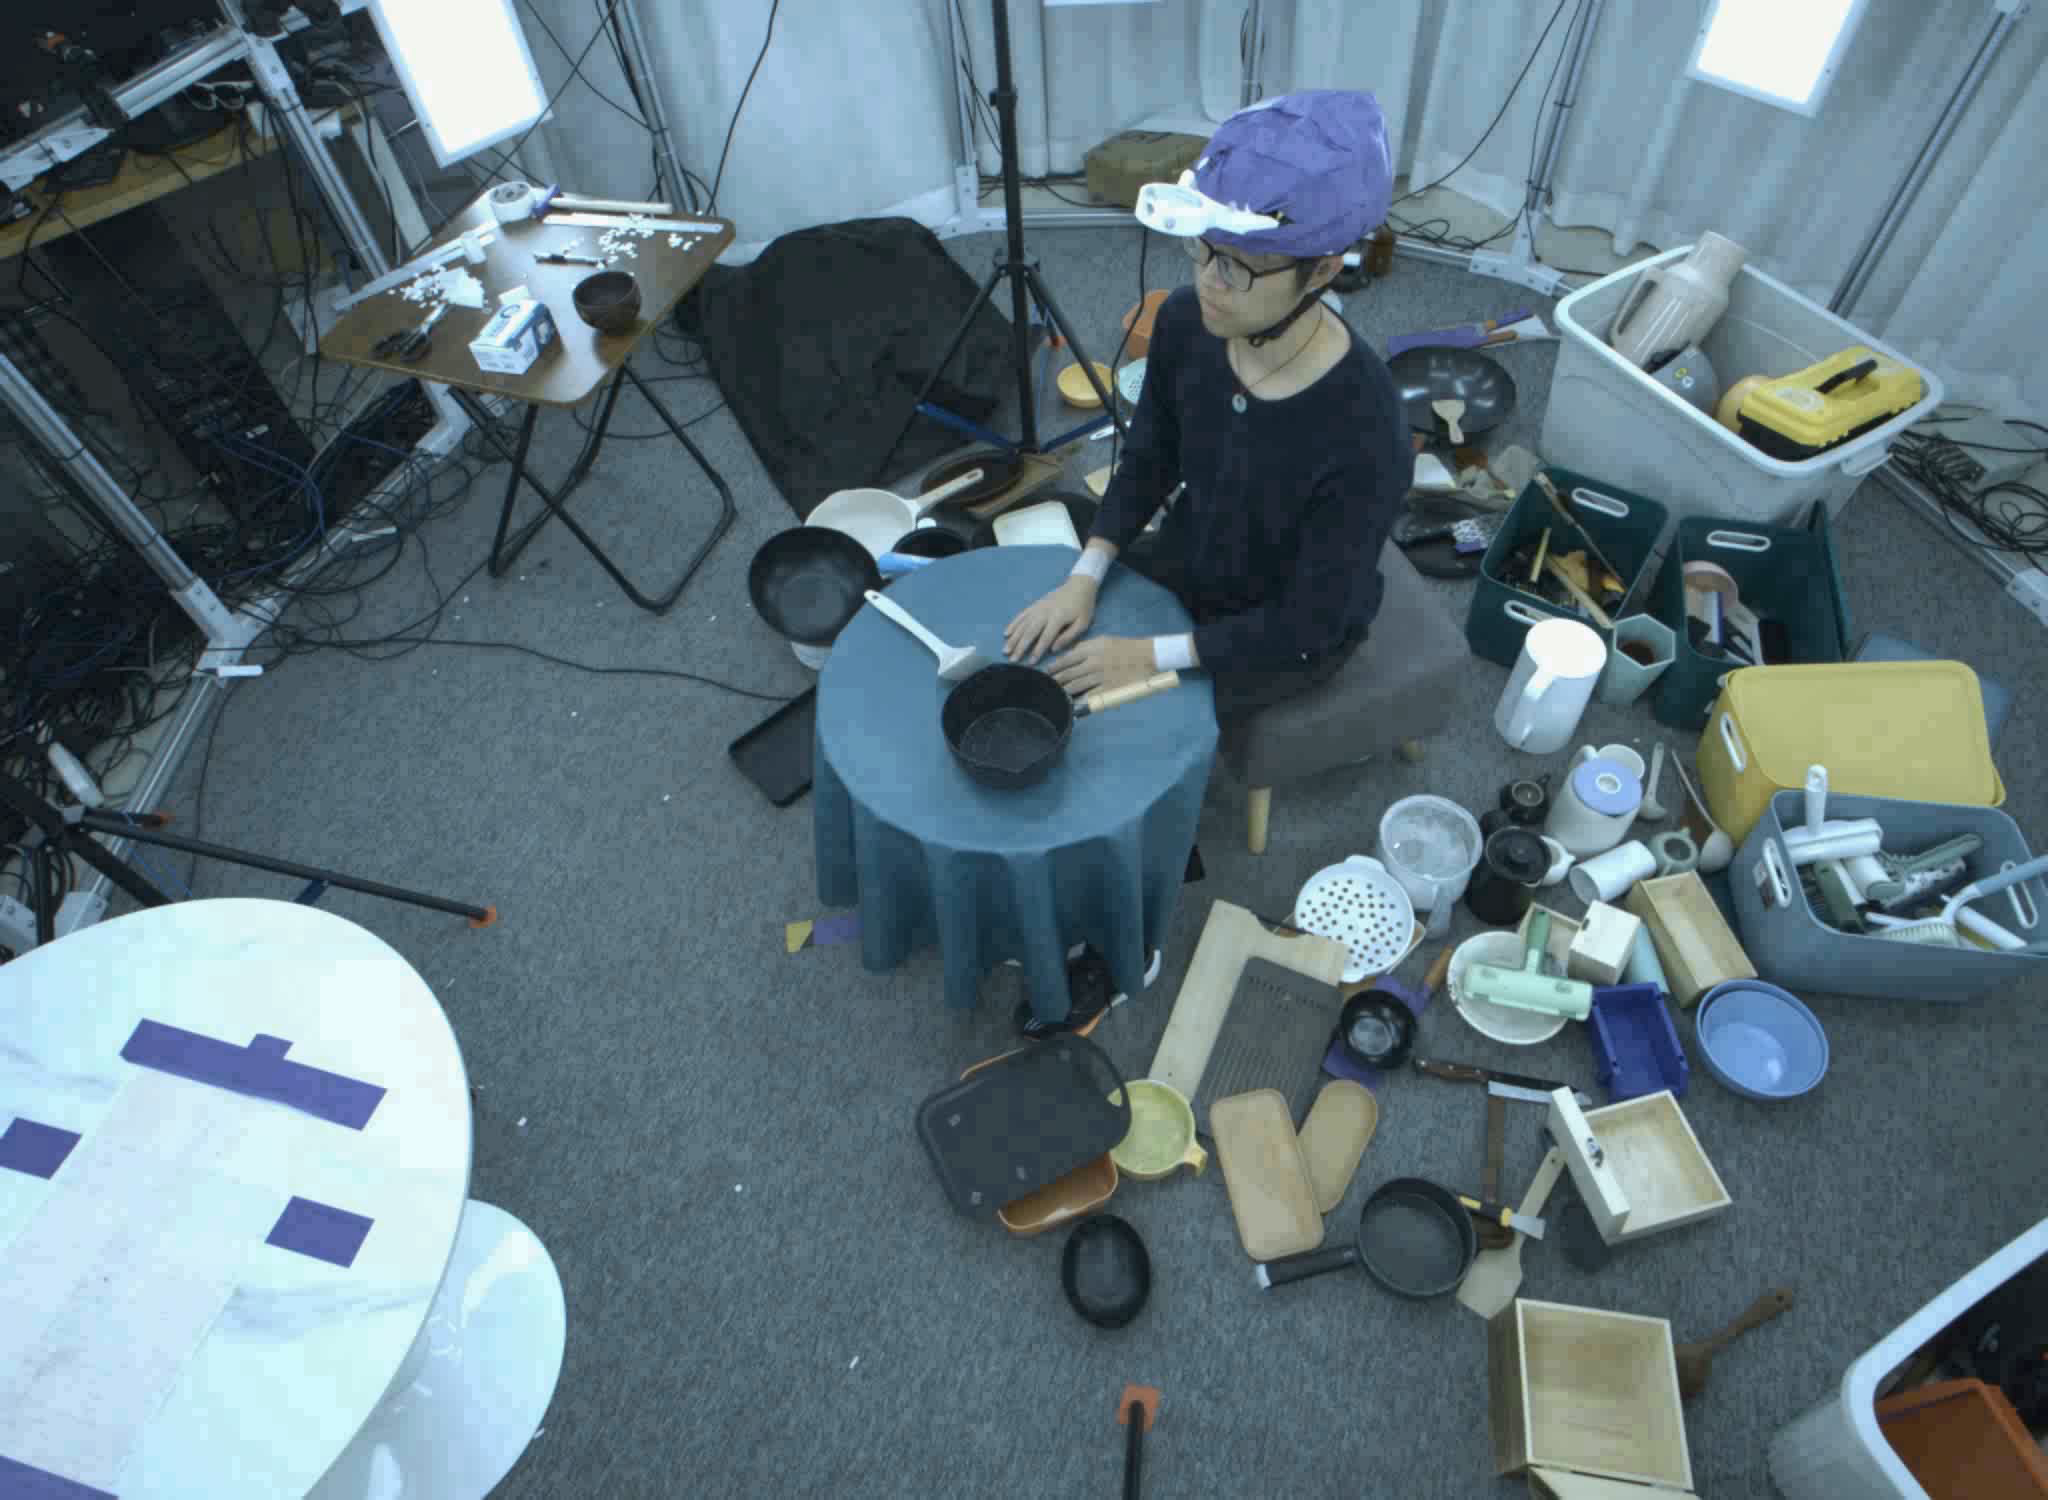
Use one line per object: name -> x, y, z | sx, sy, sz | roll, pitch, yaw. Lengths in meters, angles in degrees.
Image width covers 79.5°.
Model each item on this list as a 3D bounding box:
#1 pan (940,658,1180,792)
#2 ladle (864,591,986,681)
pan -> 0.054, -0.048, 1.753 | 0.344, 0.109, 0.204 | -12, 54, -4
ladle -> -0.167, -0.197, 1.893 | 0.090, 0.070, 0.270 | -43, 62, -17
